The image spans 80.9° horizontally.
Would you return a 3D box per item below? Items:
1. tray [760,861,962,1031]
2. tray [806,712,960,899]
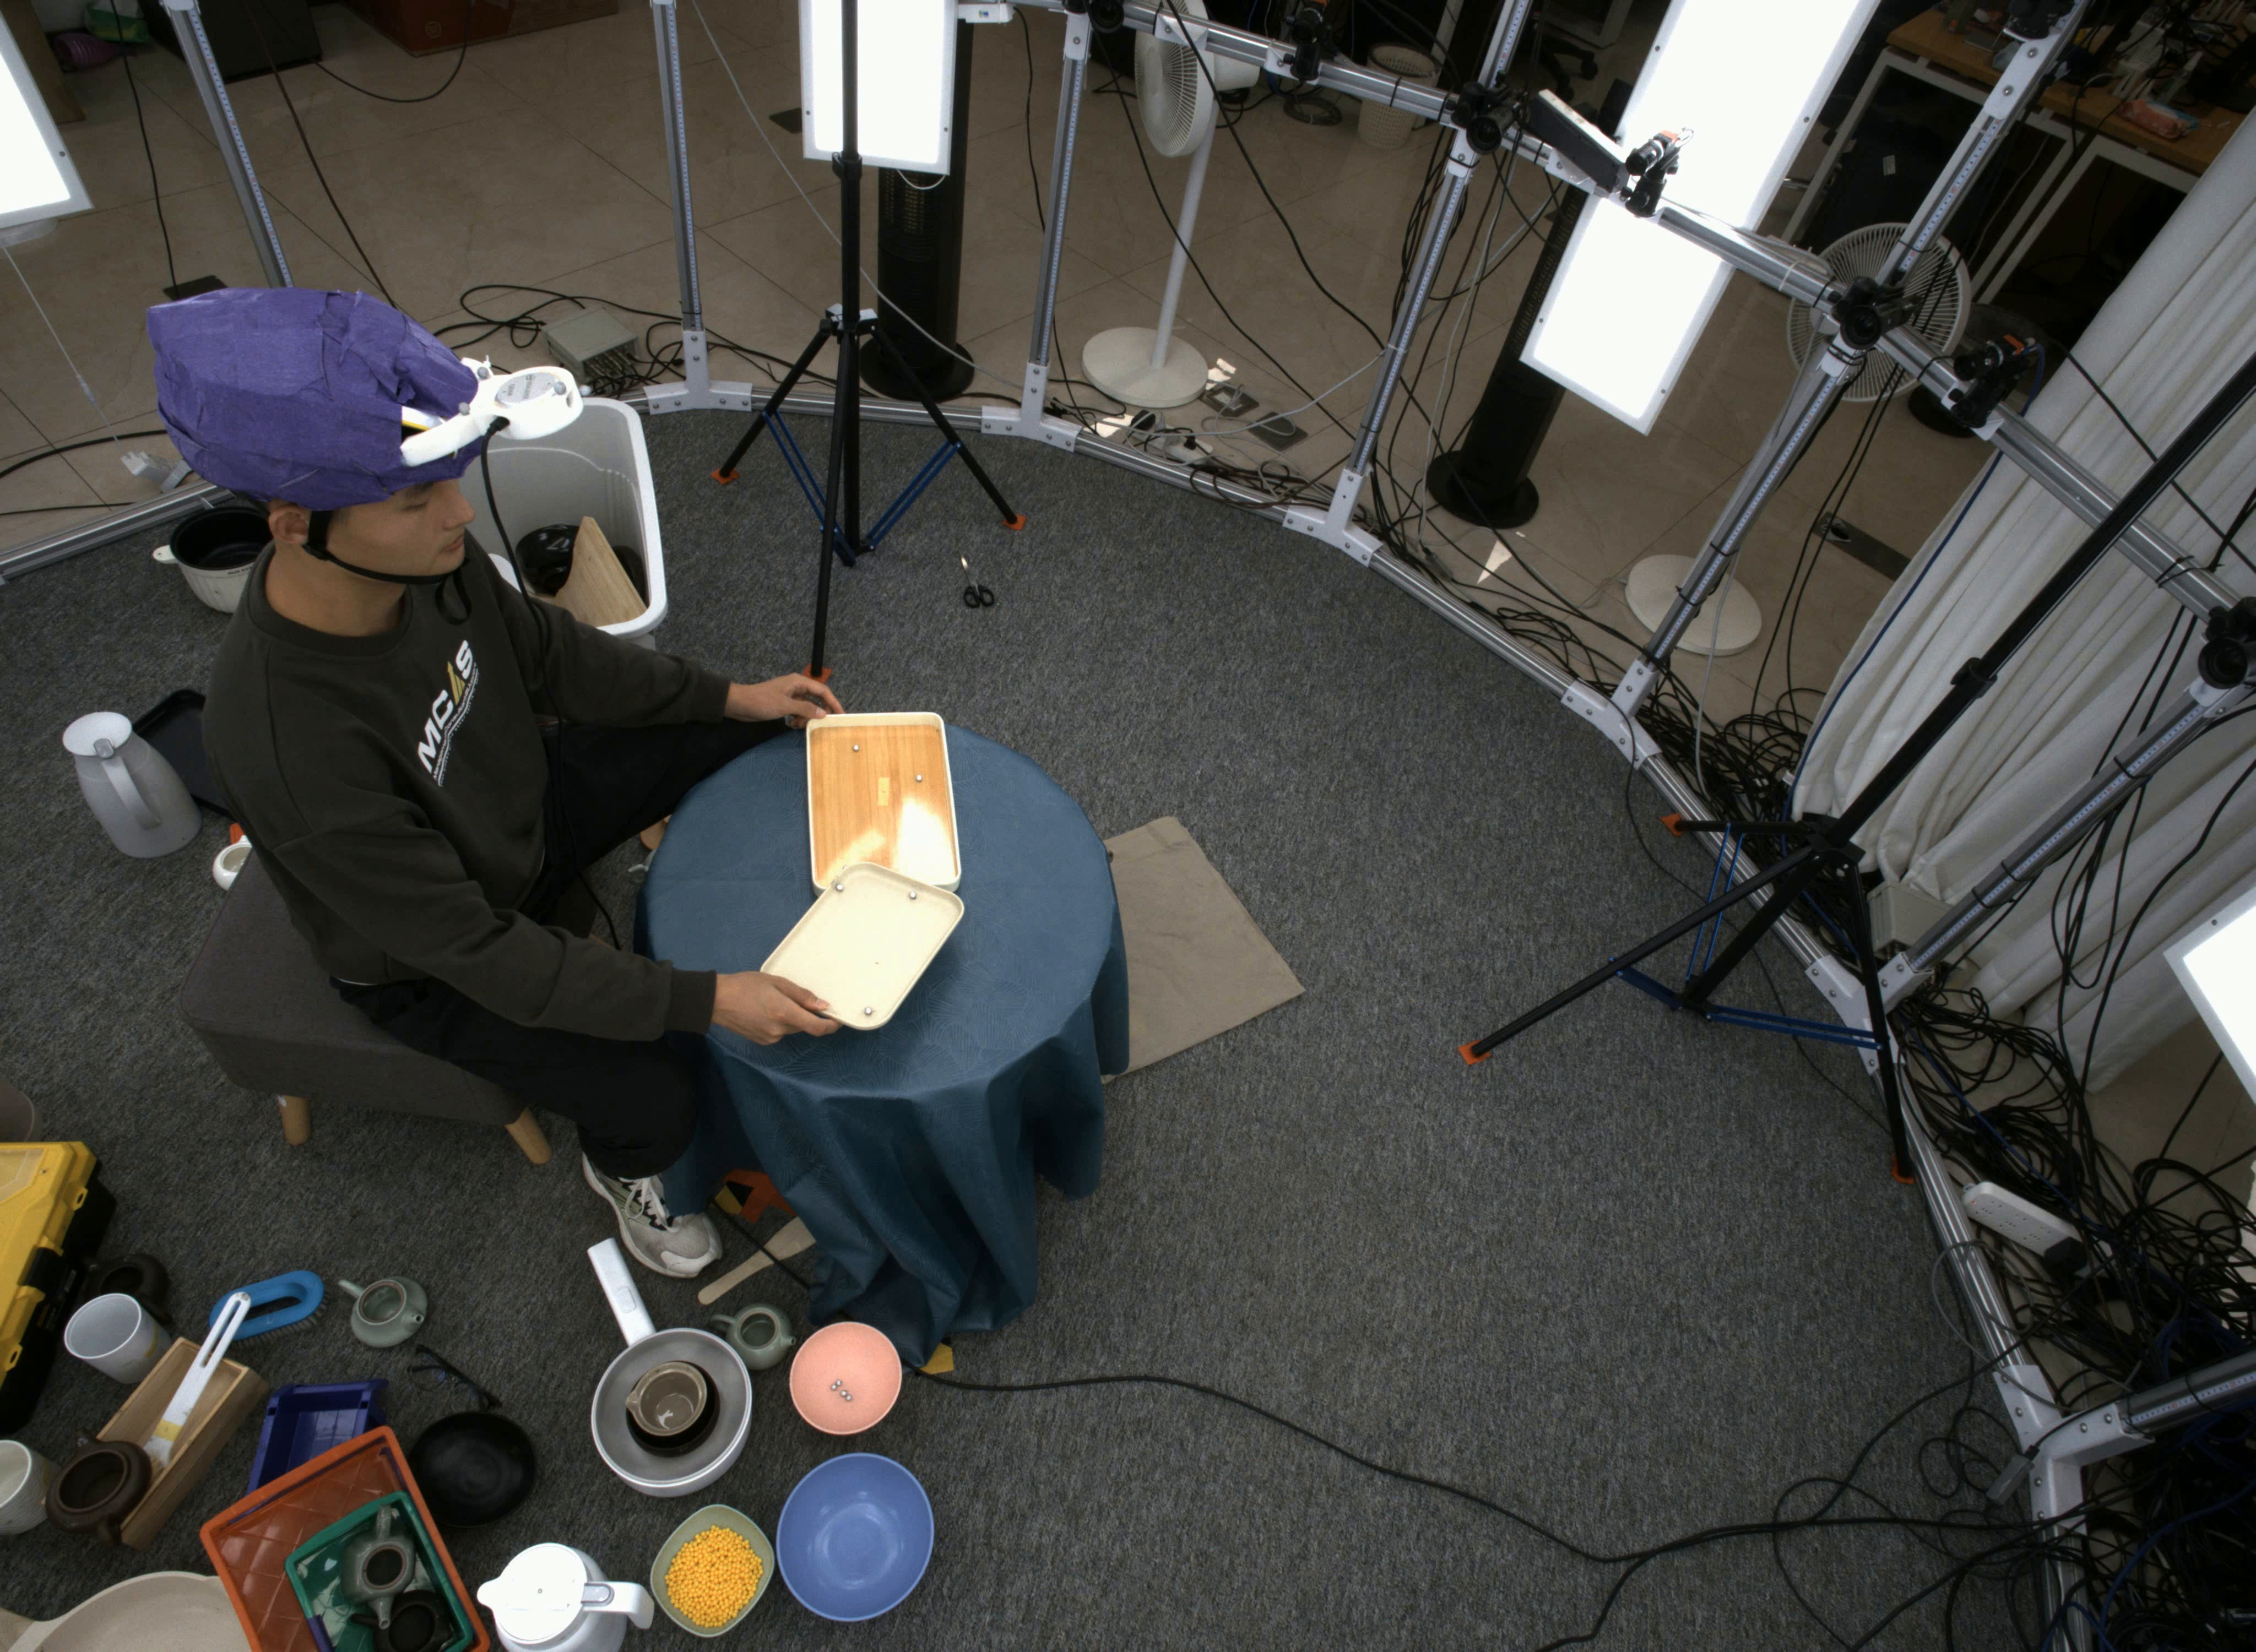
[{"bbox_3d":[-0.318,0.141,1.572,0.168,0.018,0.238,21,44,10],"label":"tray"},{"bbox_3d":[-0.336,-0.034,1.764,0.192,0.028,0.293,-2,54,-15],"label":"tray"}]
